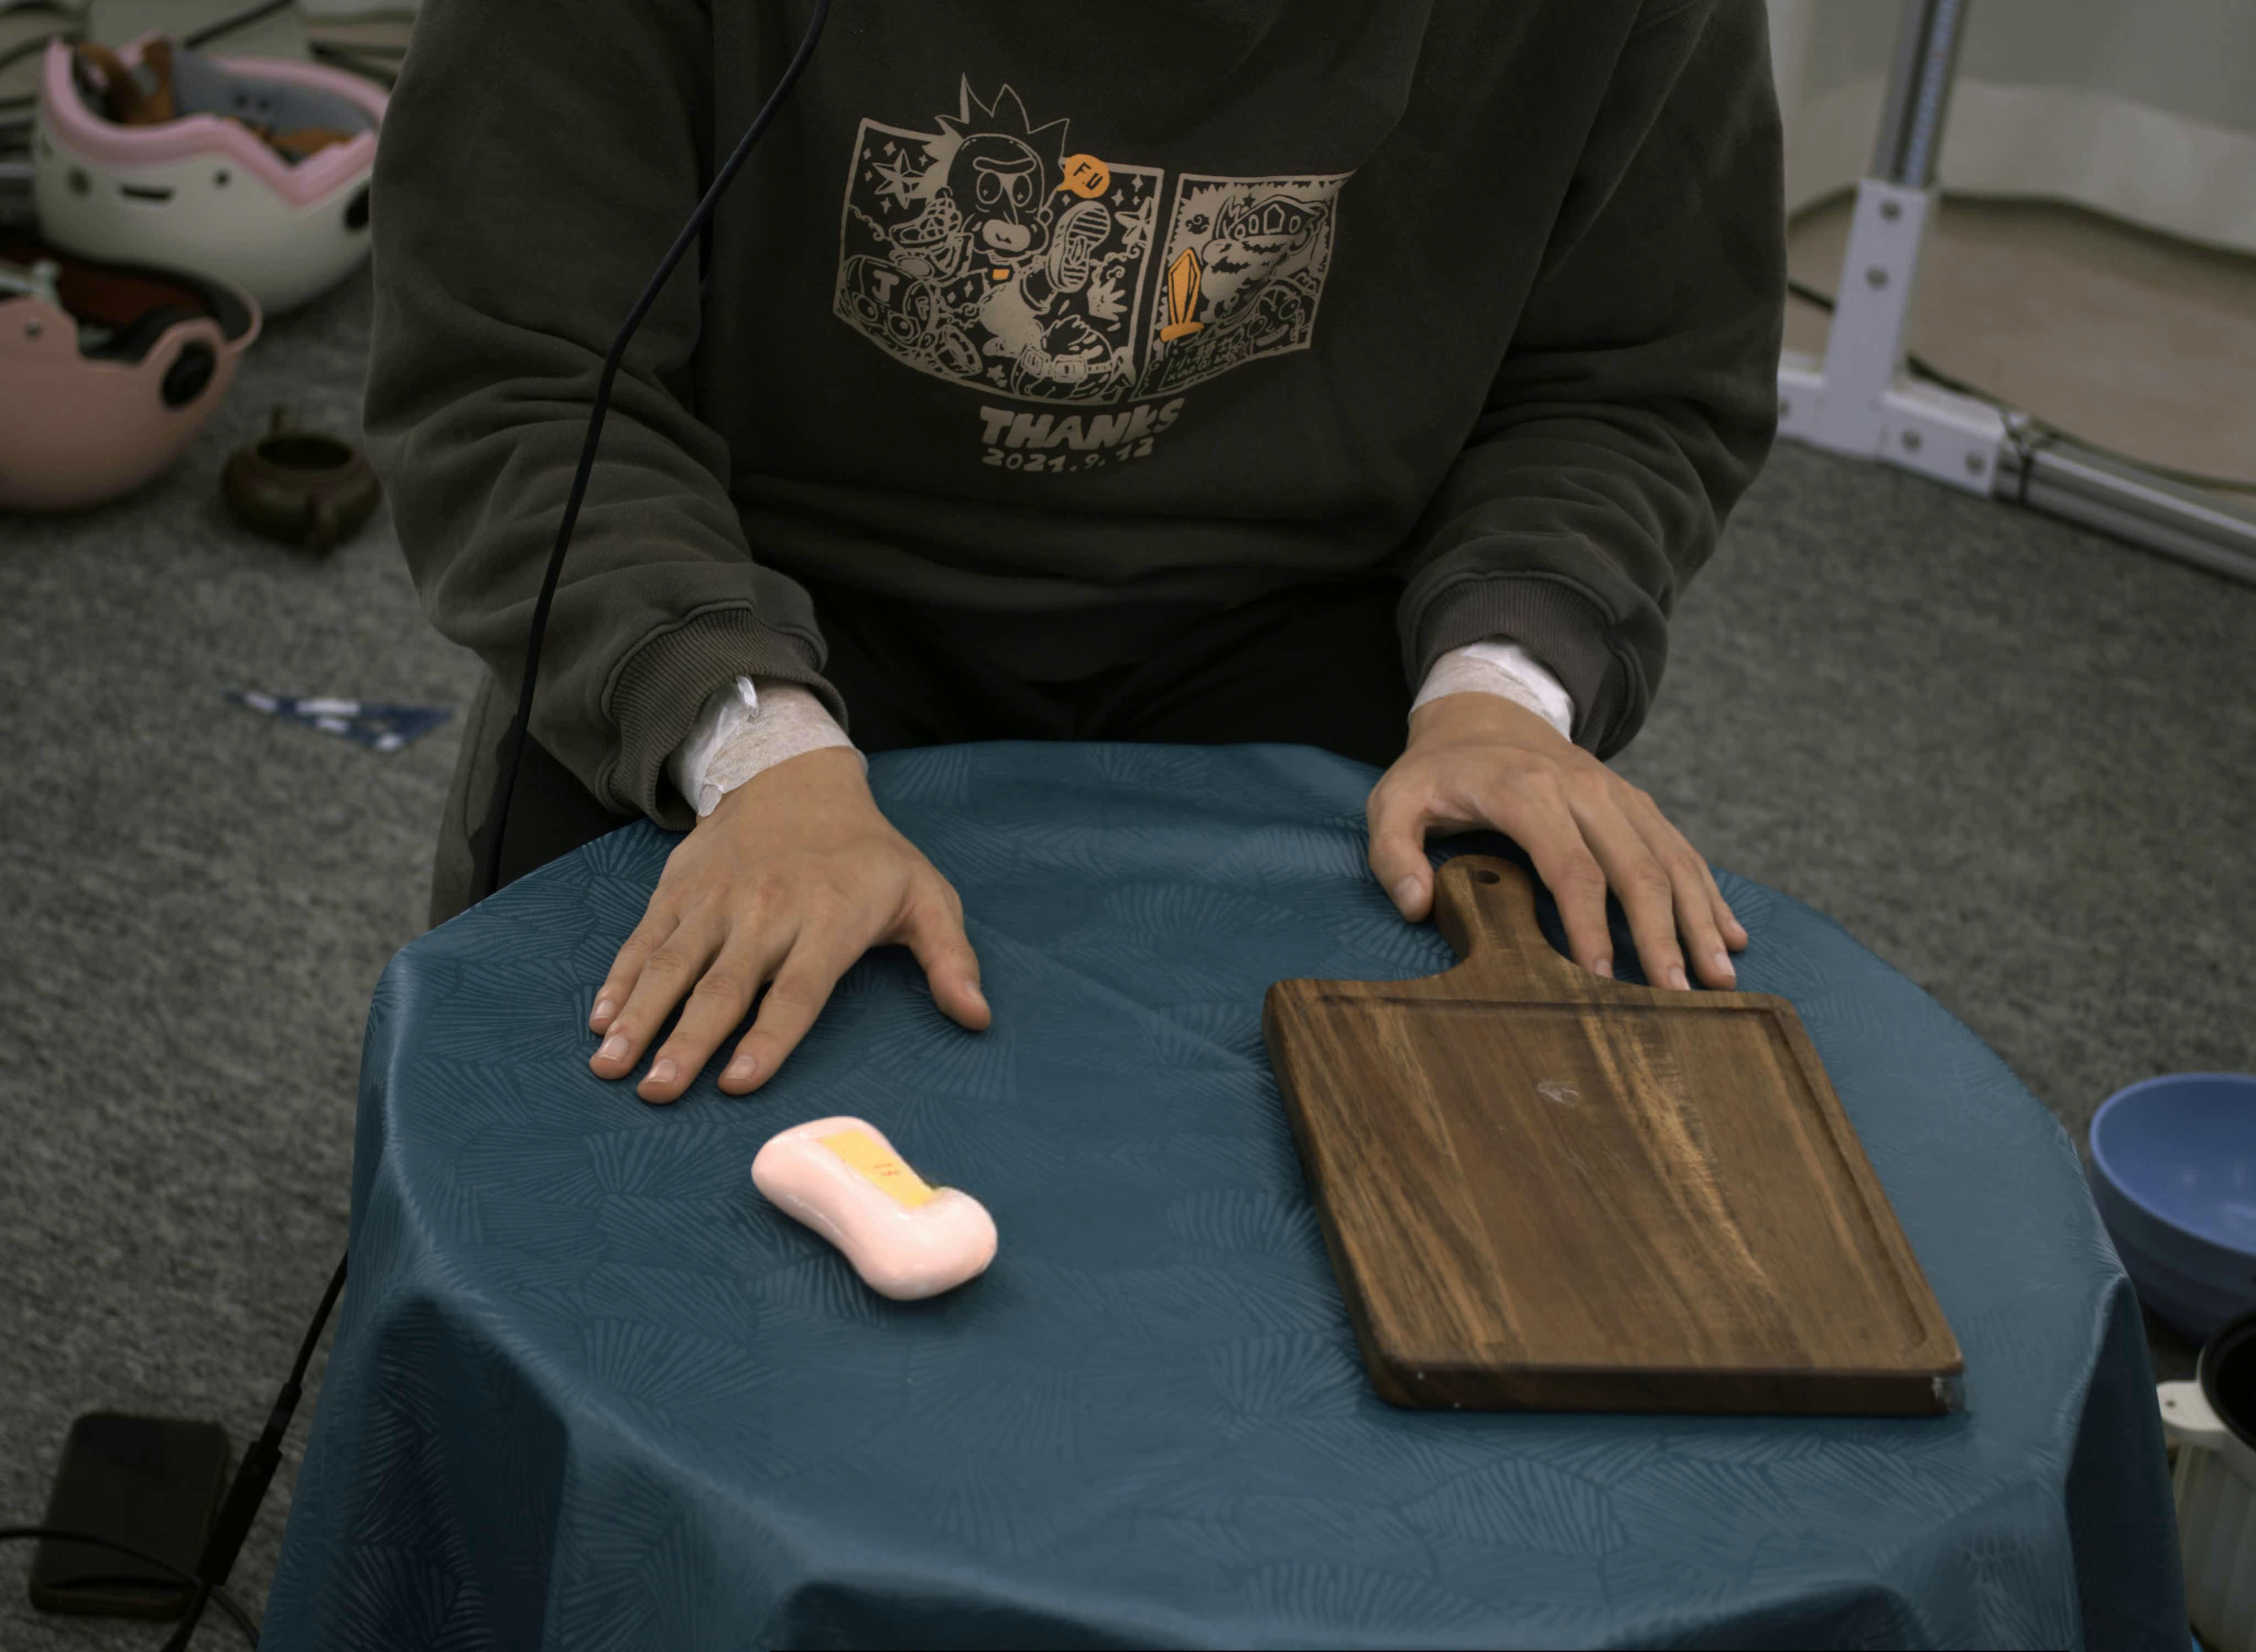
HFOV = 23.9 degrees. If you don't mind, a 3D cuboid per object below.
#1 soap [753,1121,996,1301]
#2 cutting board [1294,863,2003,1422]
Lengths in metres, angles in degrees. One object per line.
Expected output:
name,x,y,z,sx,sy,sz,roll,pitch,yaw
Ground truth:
soap,-0.084,0.126,1.749,0.050,0.030,0.095,-12,30,-34
cutting board,0.166,0.103,1.859,0.200,0.023,0.355,2,27,-8
